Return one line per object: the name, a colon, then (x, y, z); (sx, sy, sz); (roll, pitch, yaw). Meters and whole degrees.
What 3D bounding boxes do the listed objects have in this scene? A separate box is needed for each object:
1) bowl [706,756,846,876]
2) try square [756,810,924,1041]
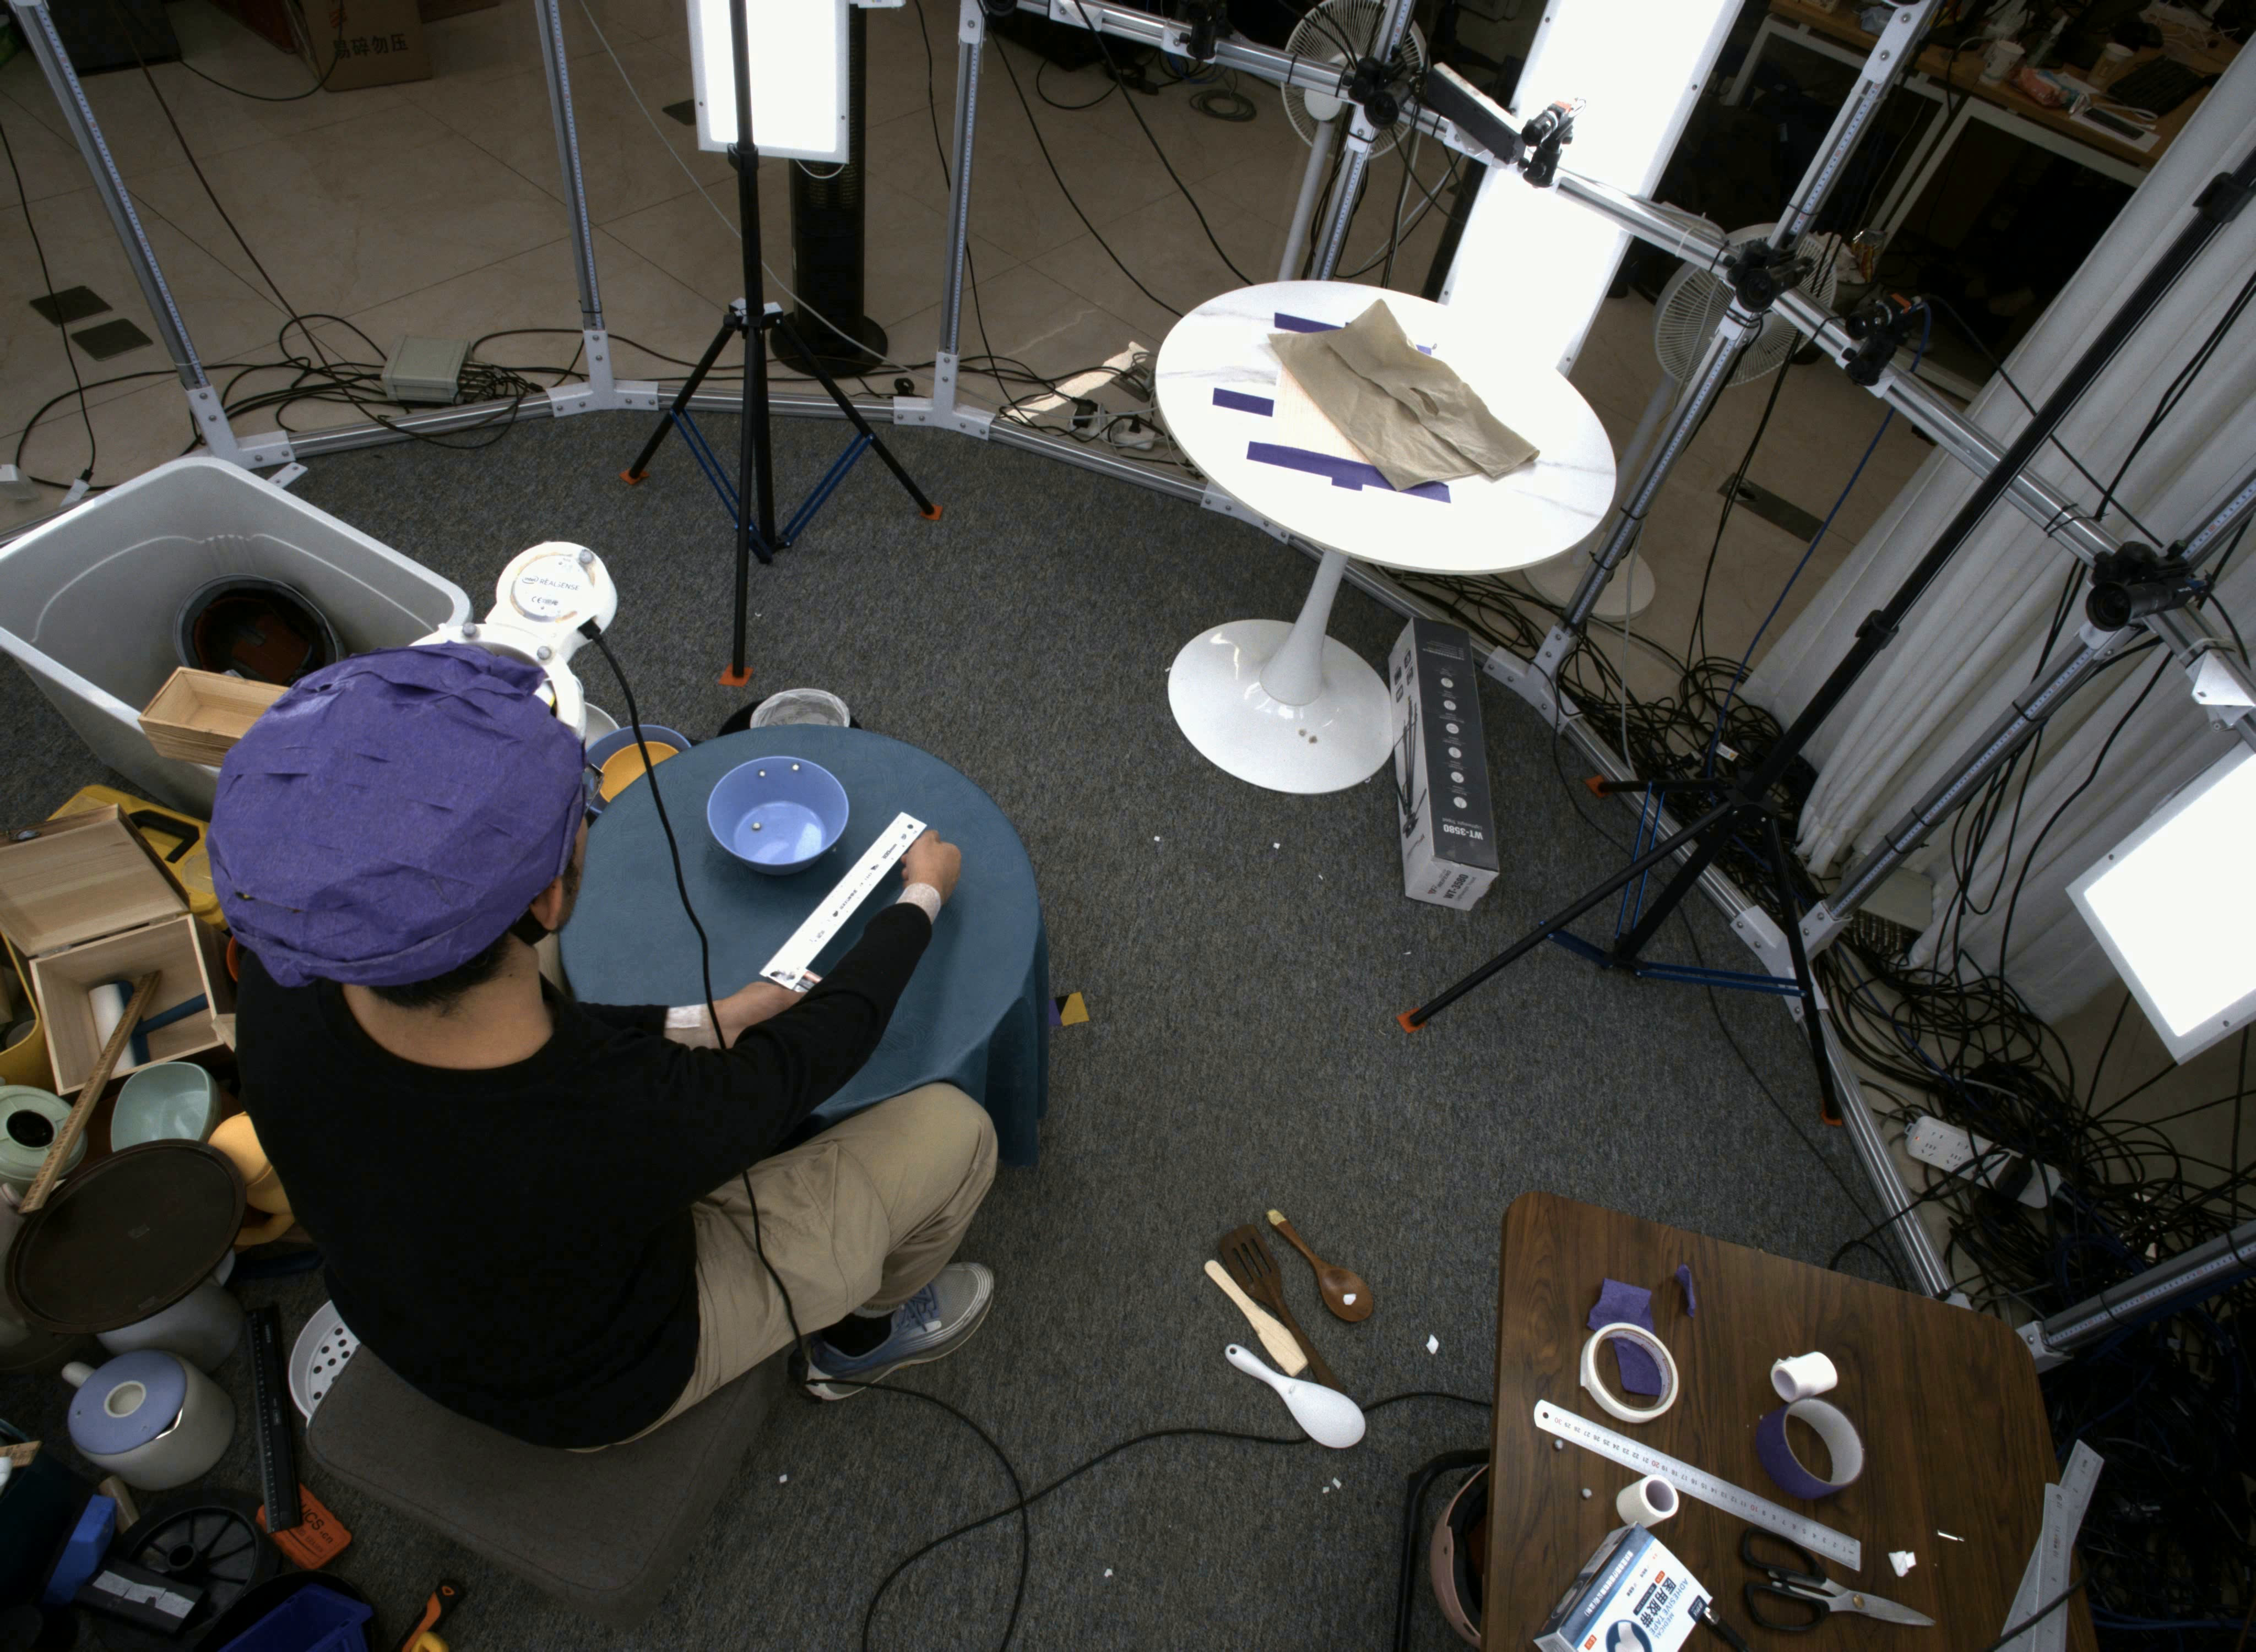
bowl: (-0.452, -0.003, 1.669); (0.176, 0.071, 0.173); (8, 52, -9)
try square: (-0.308, 0.113, 1.616); (0.151, 0.016, 0.311); (32, 50, 4)
